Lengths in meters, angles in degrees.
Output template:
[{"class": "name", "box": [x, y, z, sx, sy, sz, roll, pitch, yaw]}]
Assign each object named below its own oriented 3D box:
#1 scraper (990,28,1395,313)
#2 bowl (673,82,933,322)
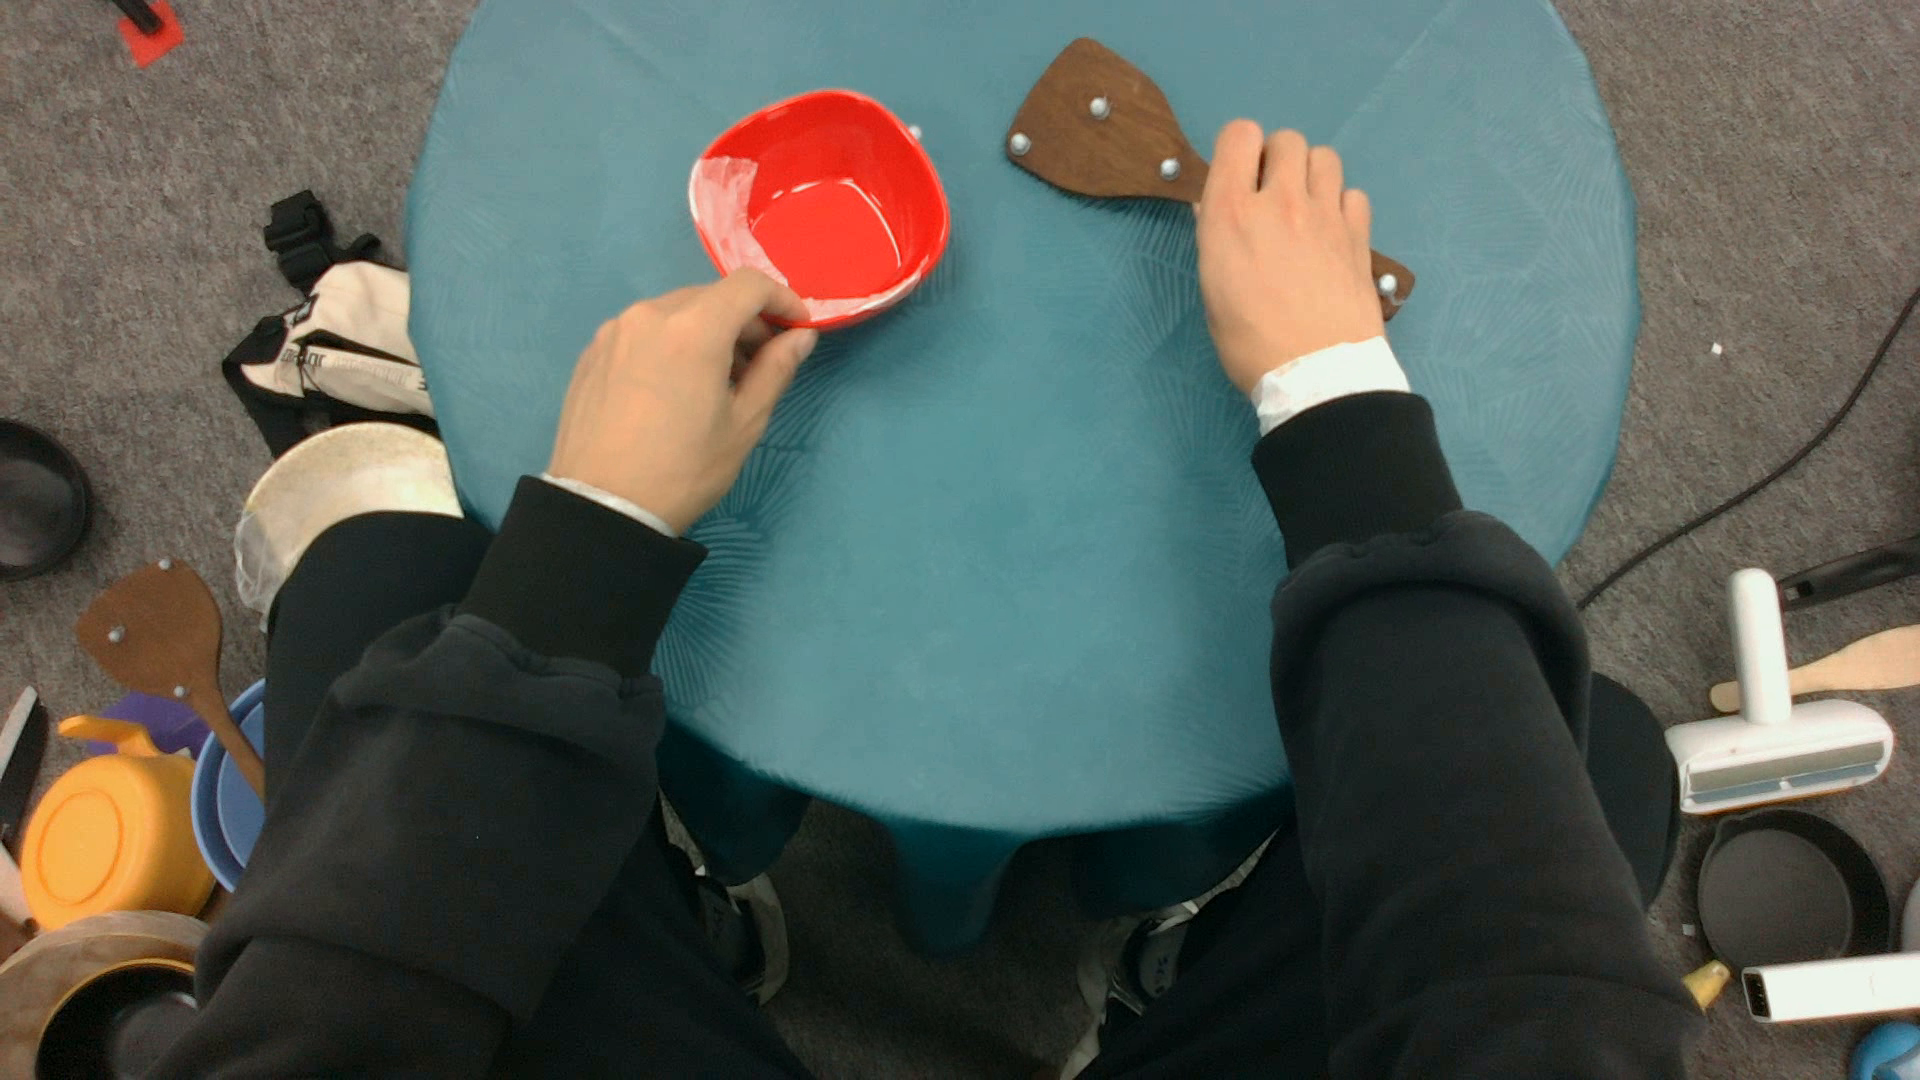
[{"class": "scraper", "box": [0.112, -0.171, 0.660, 0.211, 0.011, 0.076, 36, 88, 16]}, {"class": "bowl", "box": [-0.072, -0.149, 0.644, 0.119, 0.051, 0.119, 1, 73, -3]}]
